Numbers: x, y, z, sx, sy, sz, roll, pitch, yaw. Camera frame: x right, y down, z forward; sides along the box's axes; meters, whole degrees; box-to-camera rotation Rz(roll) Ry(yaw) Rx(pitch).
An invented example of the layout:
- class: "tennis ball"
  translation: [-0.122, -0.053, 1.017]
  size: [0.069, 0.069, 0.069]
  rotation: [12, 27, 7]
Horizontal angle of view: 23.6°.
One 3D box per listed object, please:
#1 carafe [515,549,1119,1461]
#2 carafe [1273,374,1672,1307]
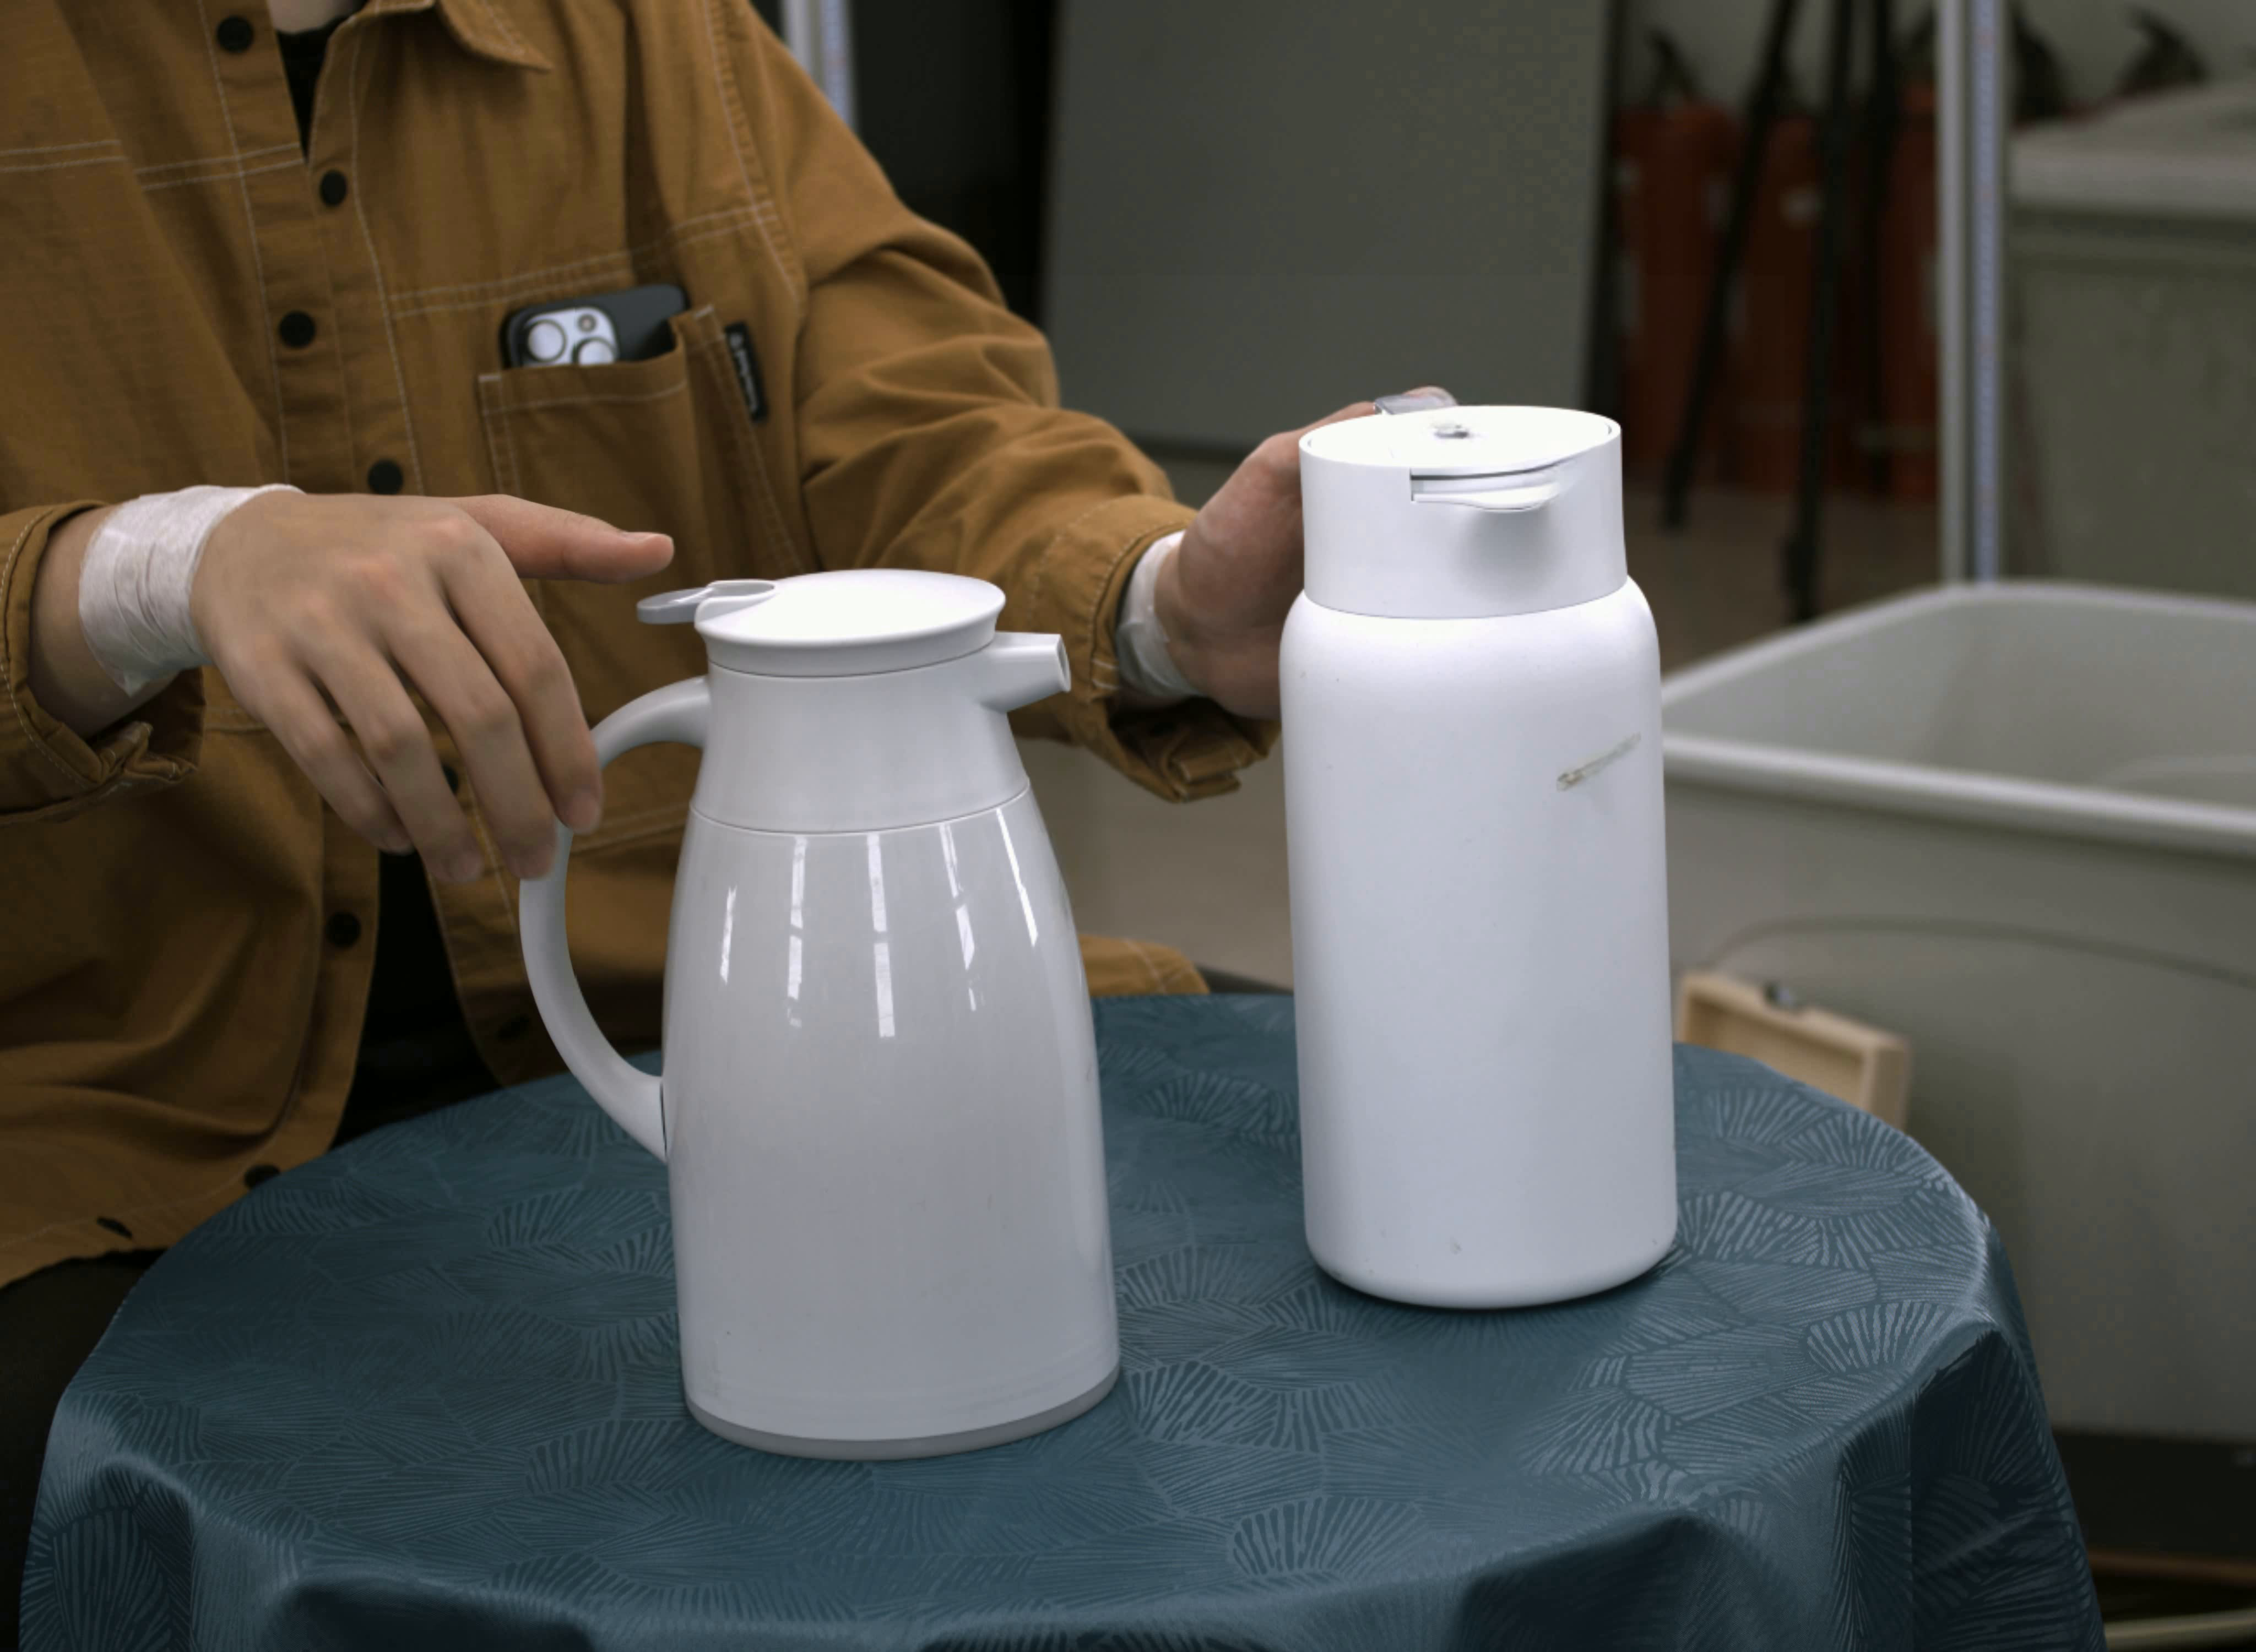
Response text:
- class: "carafe"
  translation: [-0.094, 0.047, 1.582]
  size: [0.166, 0.251, 0.132]
  rotation: [-4, 13, 6]
- class: "carafe"
  translation: [0.100, 0.001, 1.669]
  size: [0.121, 0.272, 0.174]
  rotation: [-8, 14, -10]
